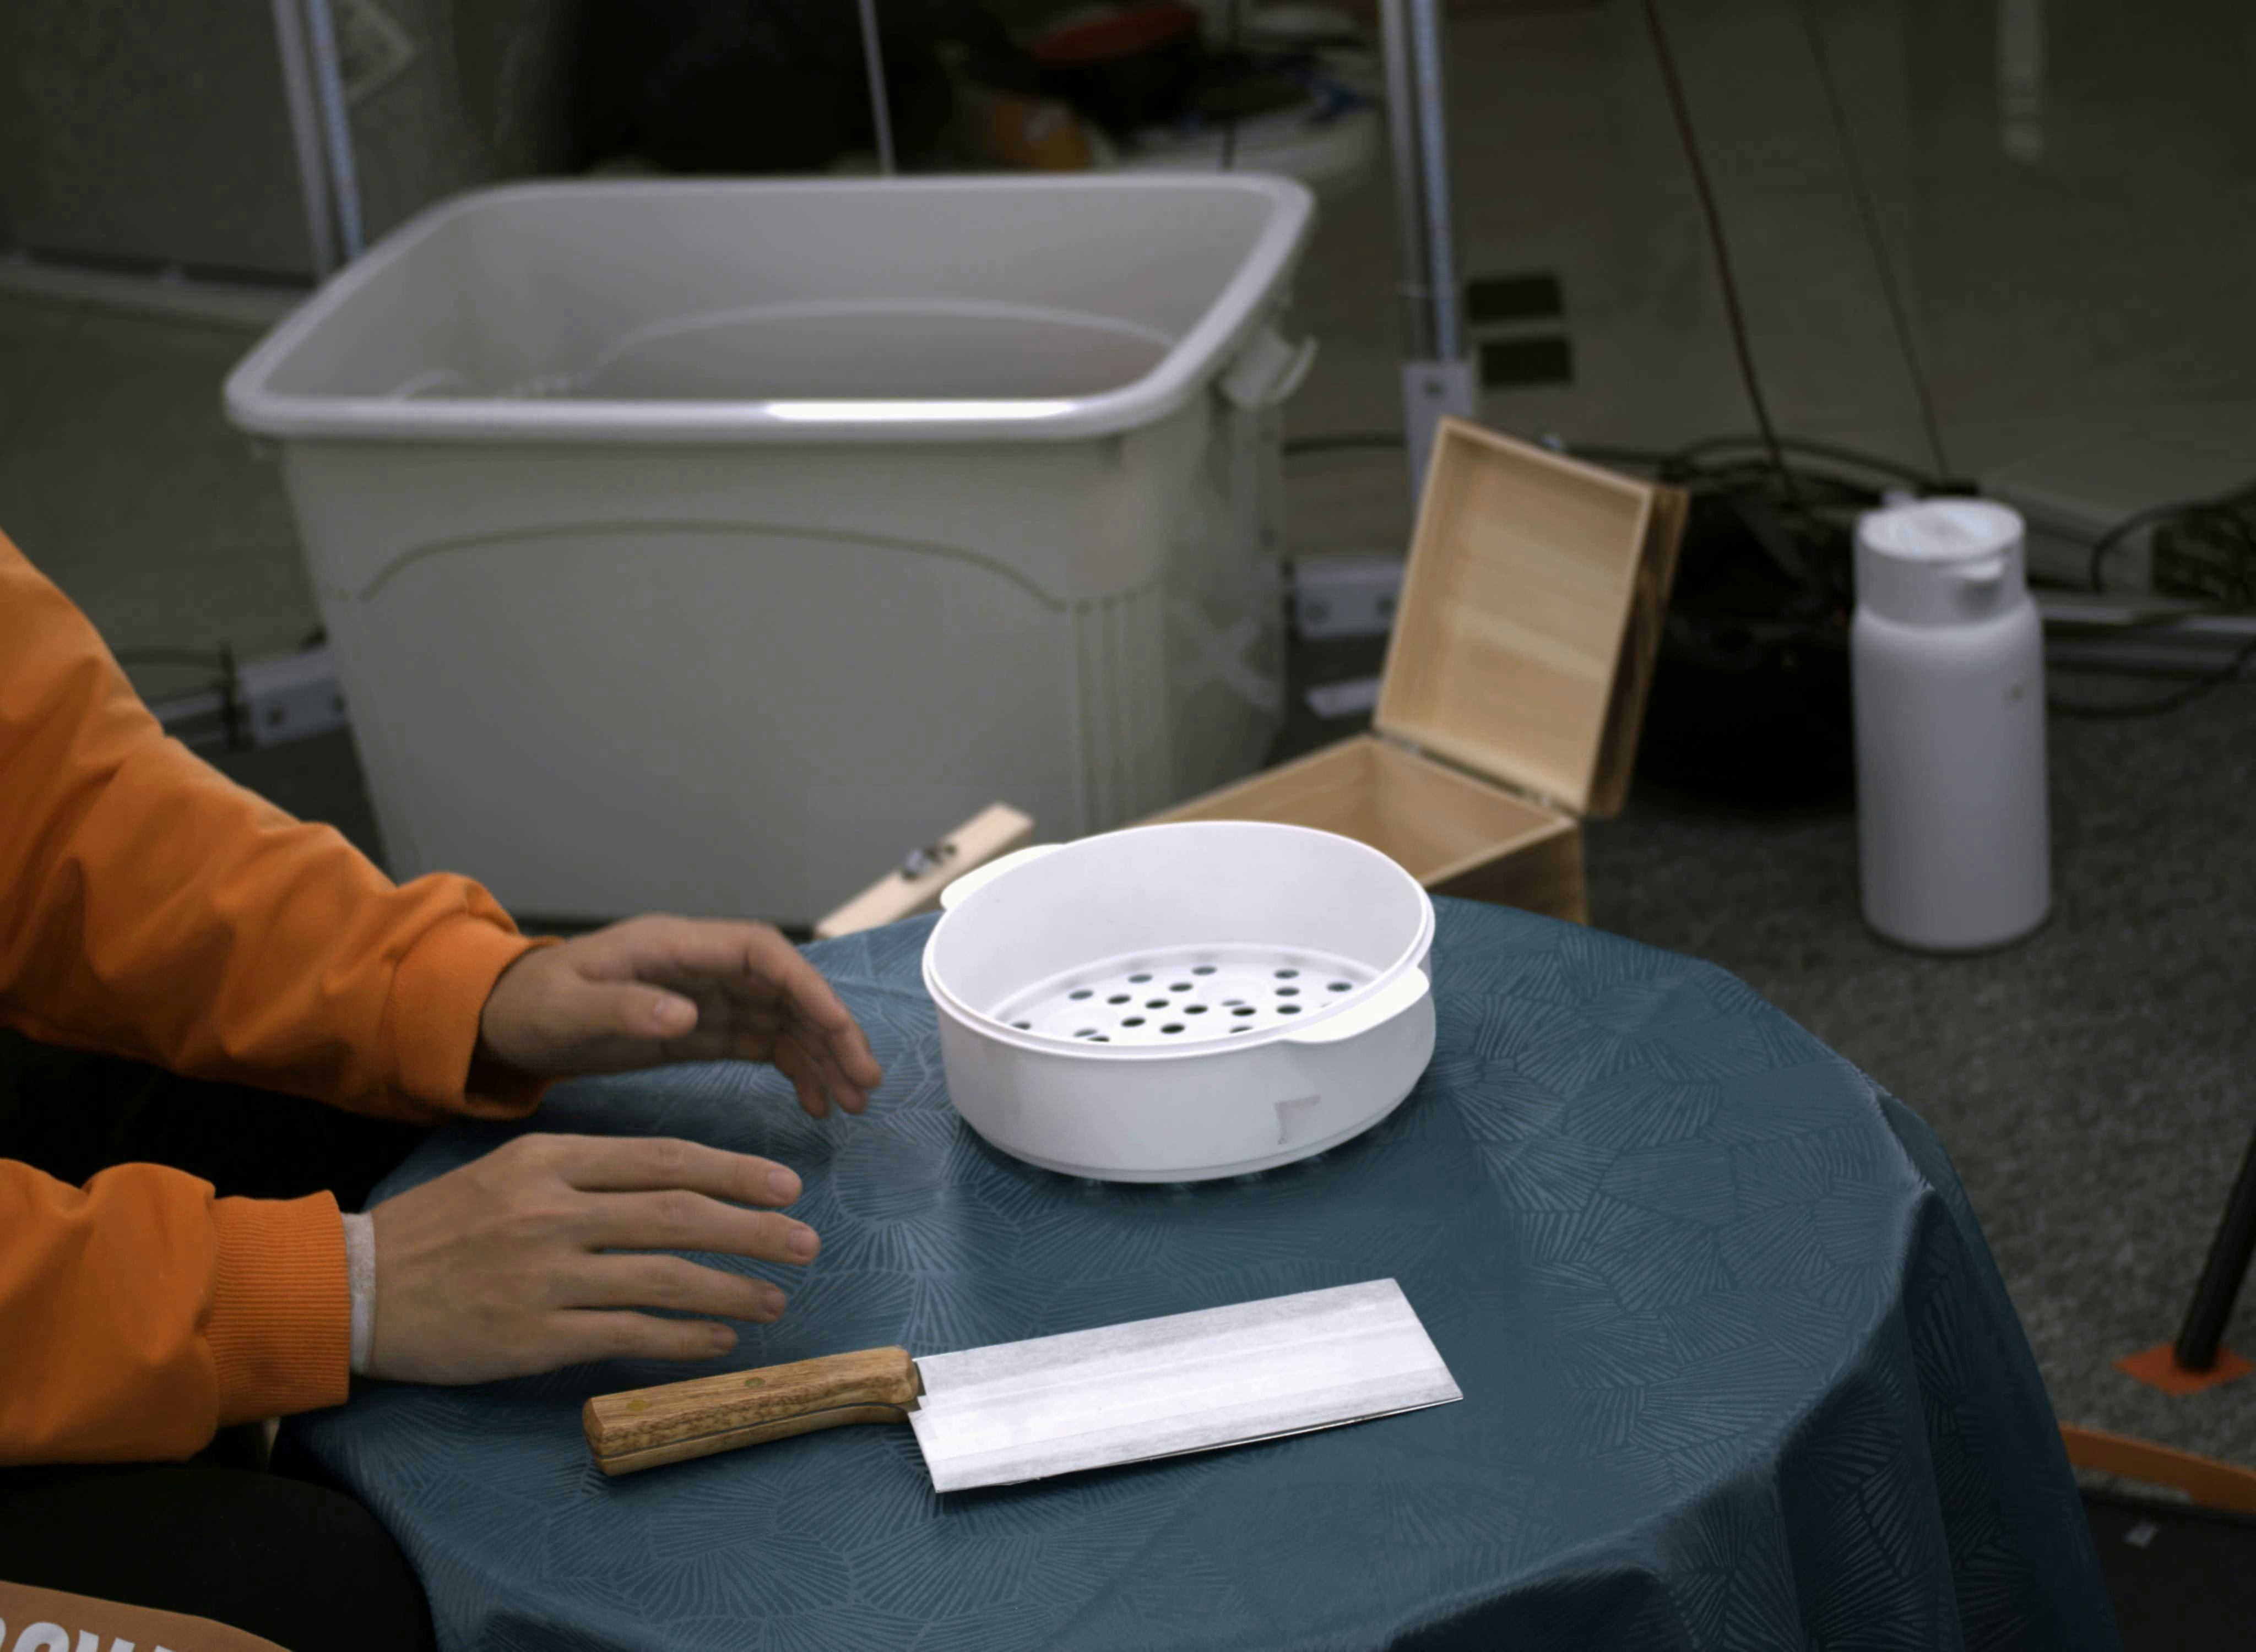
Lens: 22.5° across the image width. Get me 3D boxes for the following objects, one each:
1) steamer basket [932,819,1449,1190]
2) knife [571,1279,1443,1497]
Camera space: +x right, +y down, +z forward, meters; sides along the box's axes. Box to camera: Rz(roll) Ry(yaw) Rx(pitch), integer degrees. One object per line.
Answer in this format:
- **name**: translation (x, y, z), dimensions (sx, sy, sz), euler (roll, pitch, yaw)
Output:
- **steamer basket**: translation (0.026, 0.070, 2.205), dimensions (0.200, 0.070, 0.228), euler (-28, 34, -36)
- **knife**: translation (-0.041, 0.205, 1.998), dimensions (0.305, 0.021, 0.091), euler (-9, 27, -11)
